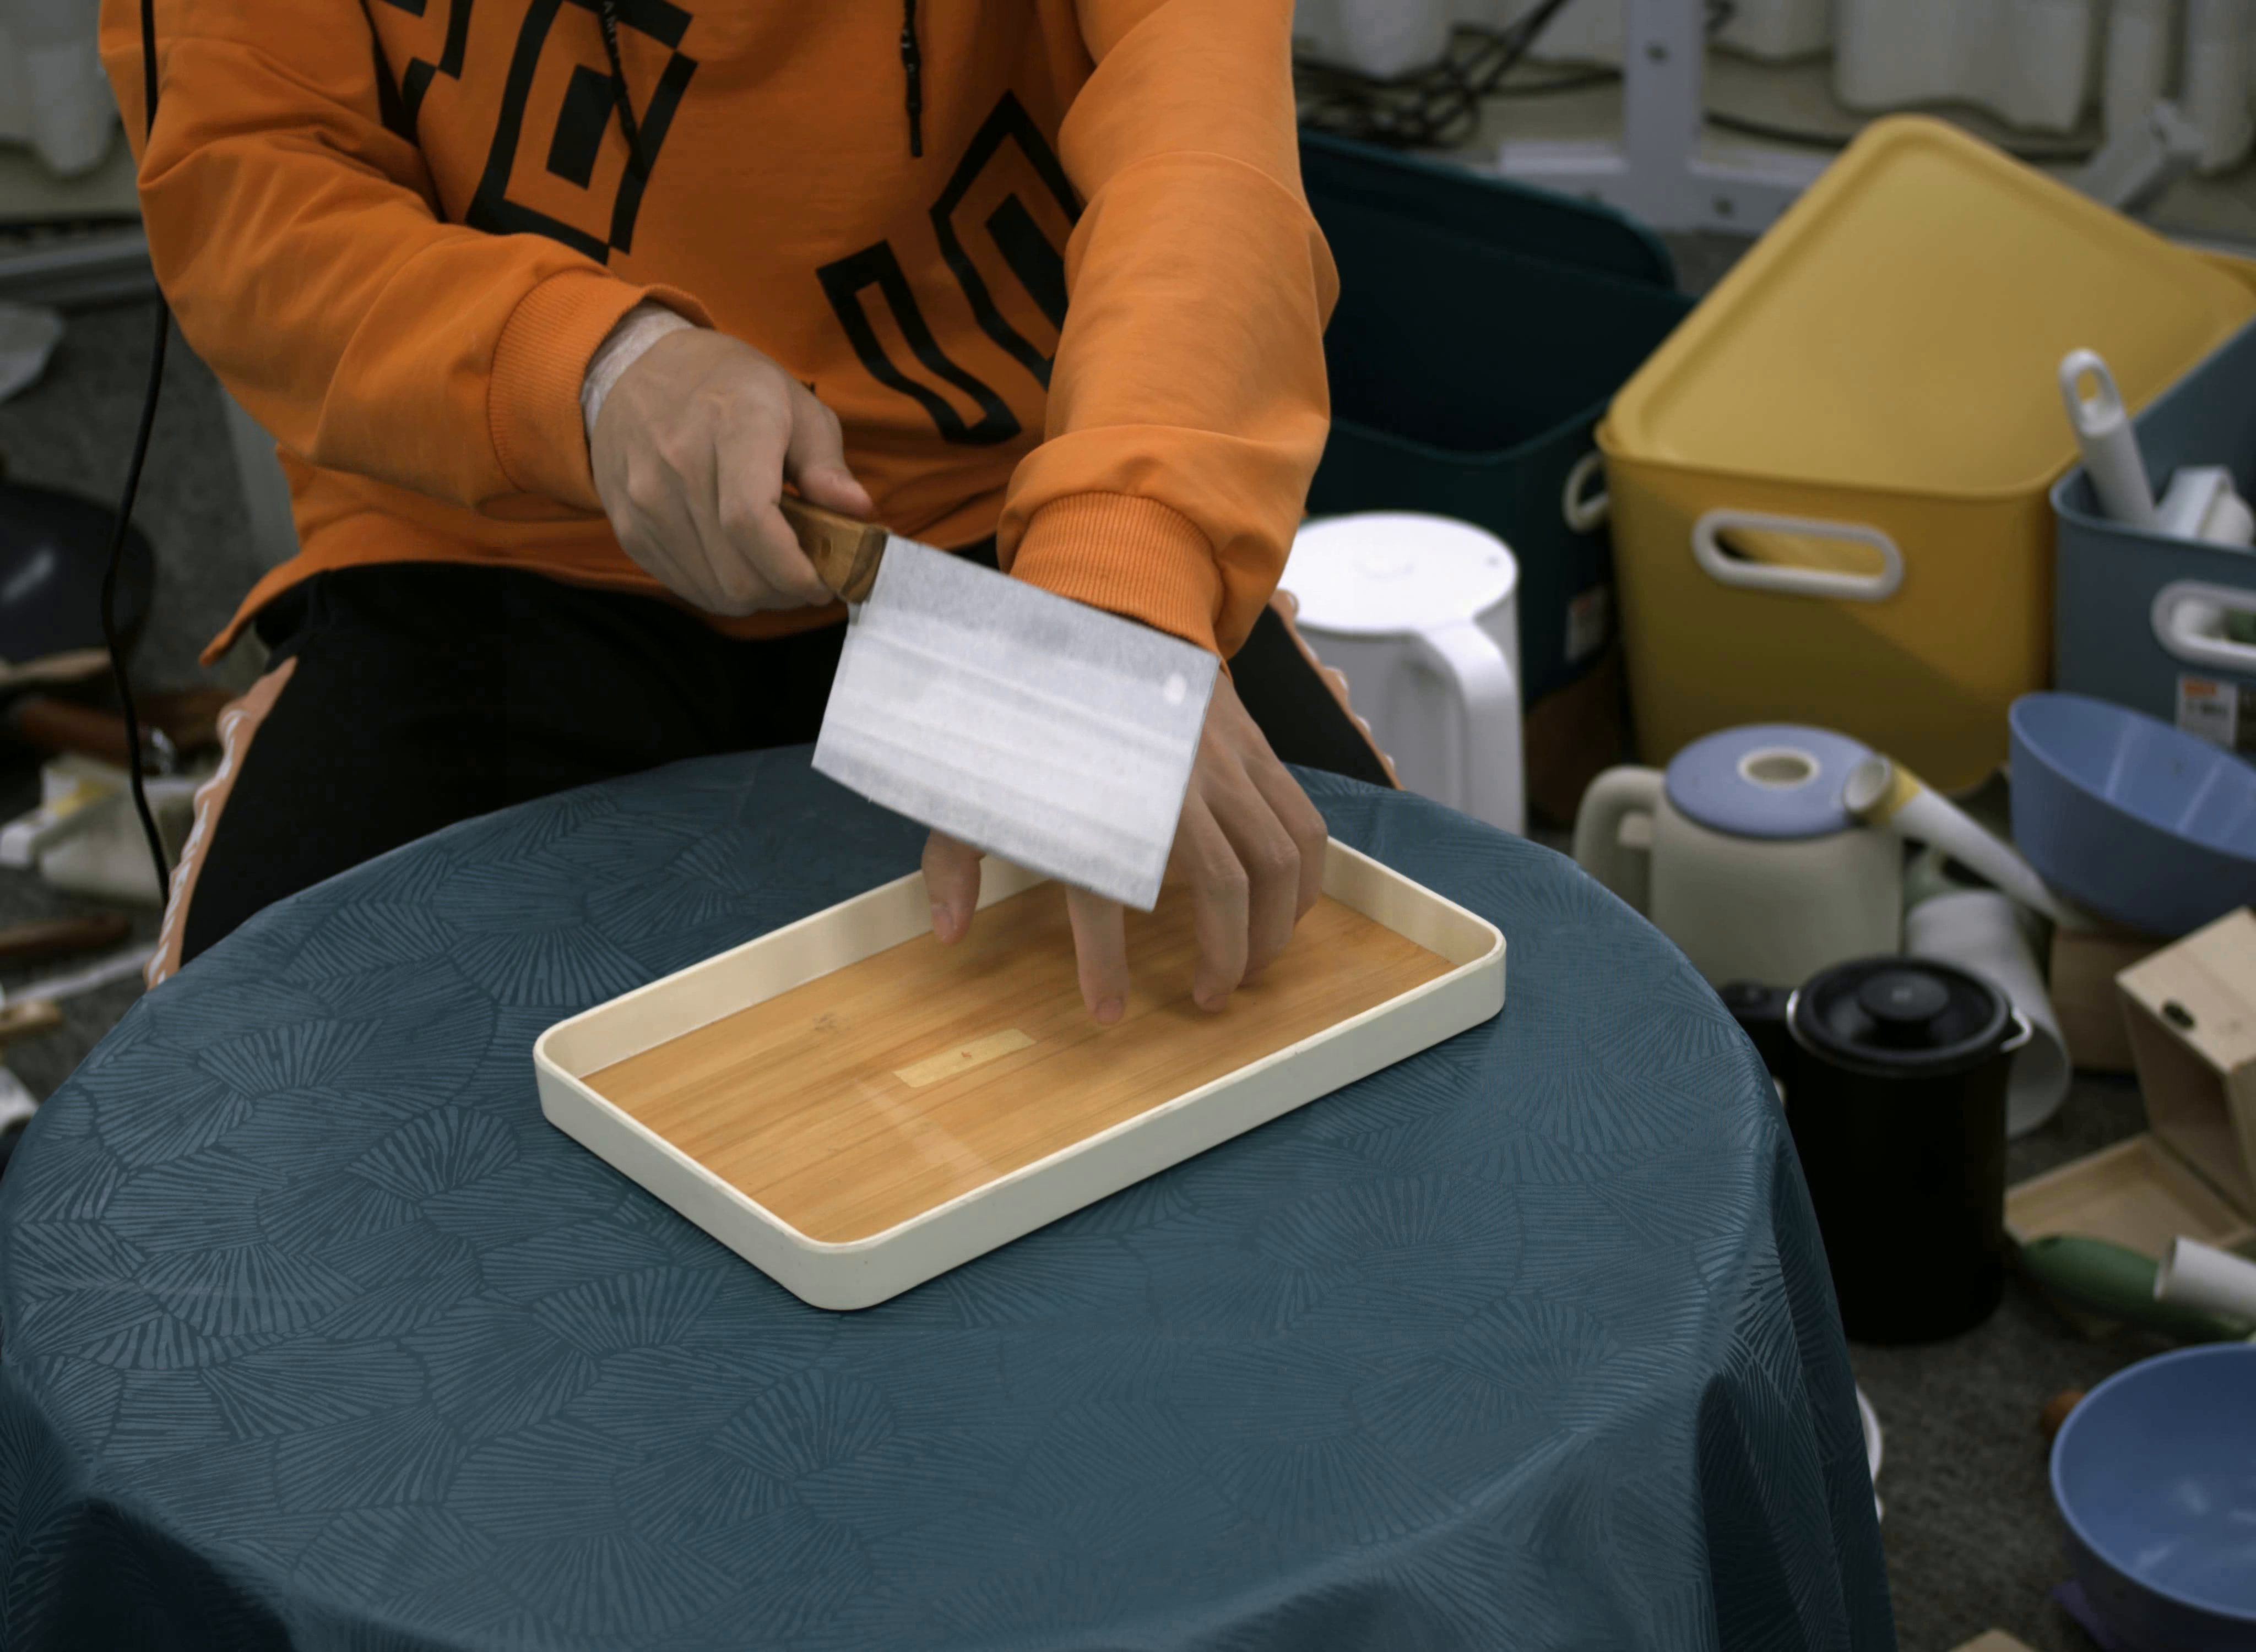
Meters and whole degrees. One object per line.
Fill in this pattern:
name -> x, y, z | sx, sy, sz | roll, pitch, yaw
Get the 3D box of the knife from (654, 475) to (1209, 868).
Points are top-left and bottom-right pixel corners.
knife -> -0.077, -0.053, 1.963 | 0.021, 0.093, 0.305 | 9, 9, -42

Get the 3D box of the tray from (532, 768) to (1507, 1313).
tray -> -0.035, 0.069, 1.937 | 0.303, 0.027, 0.192 | -23, 34, -32
